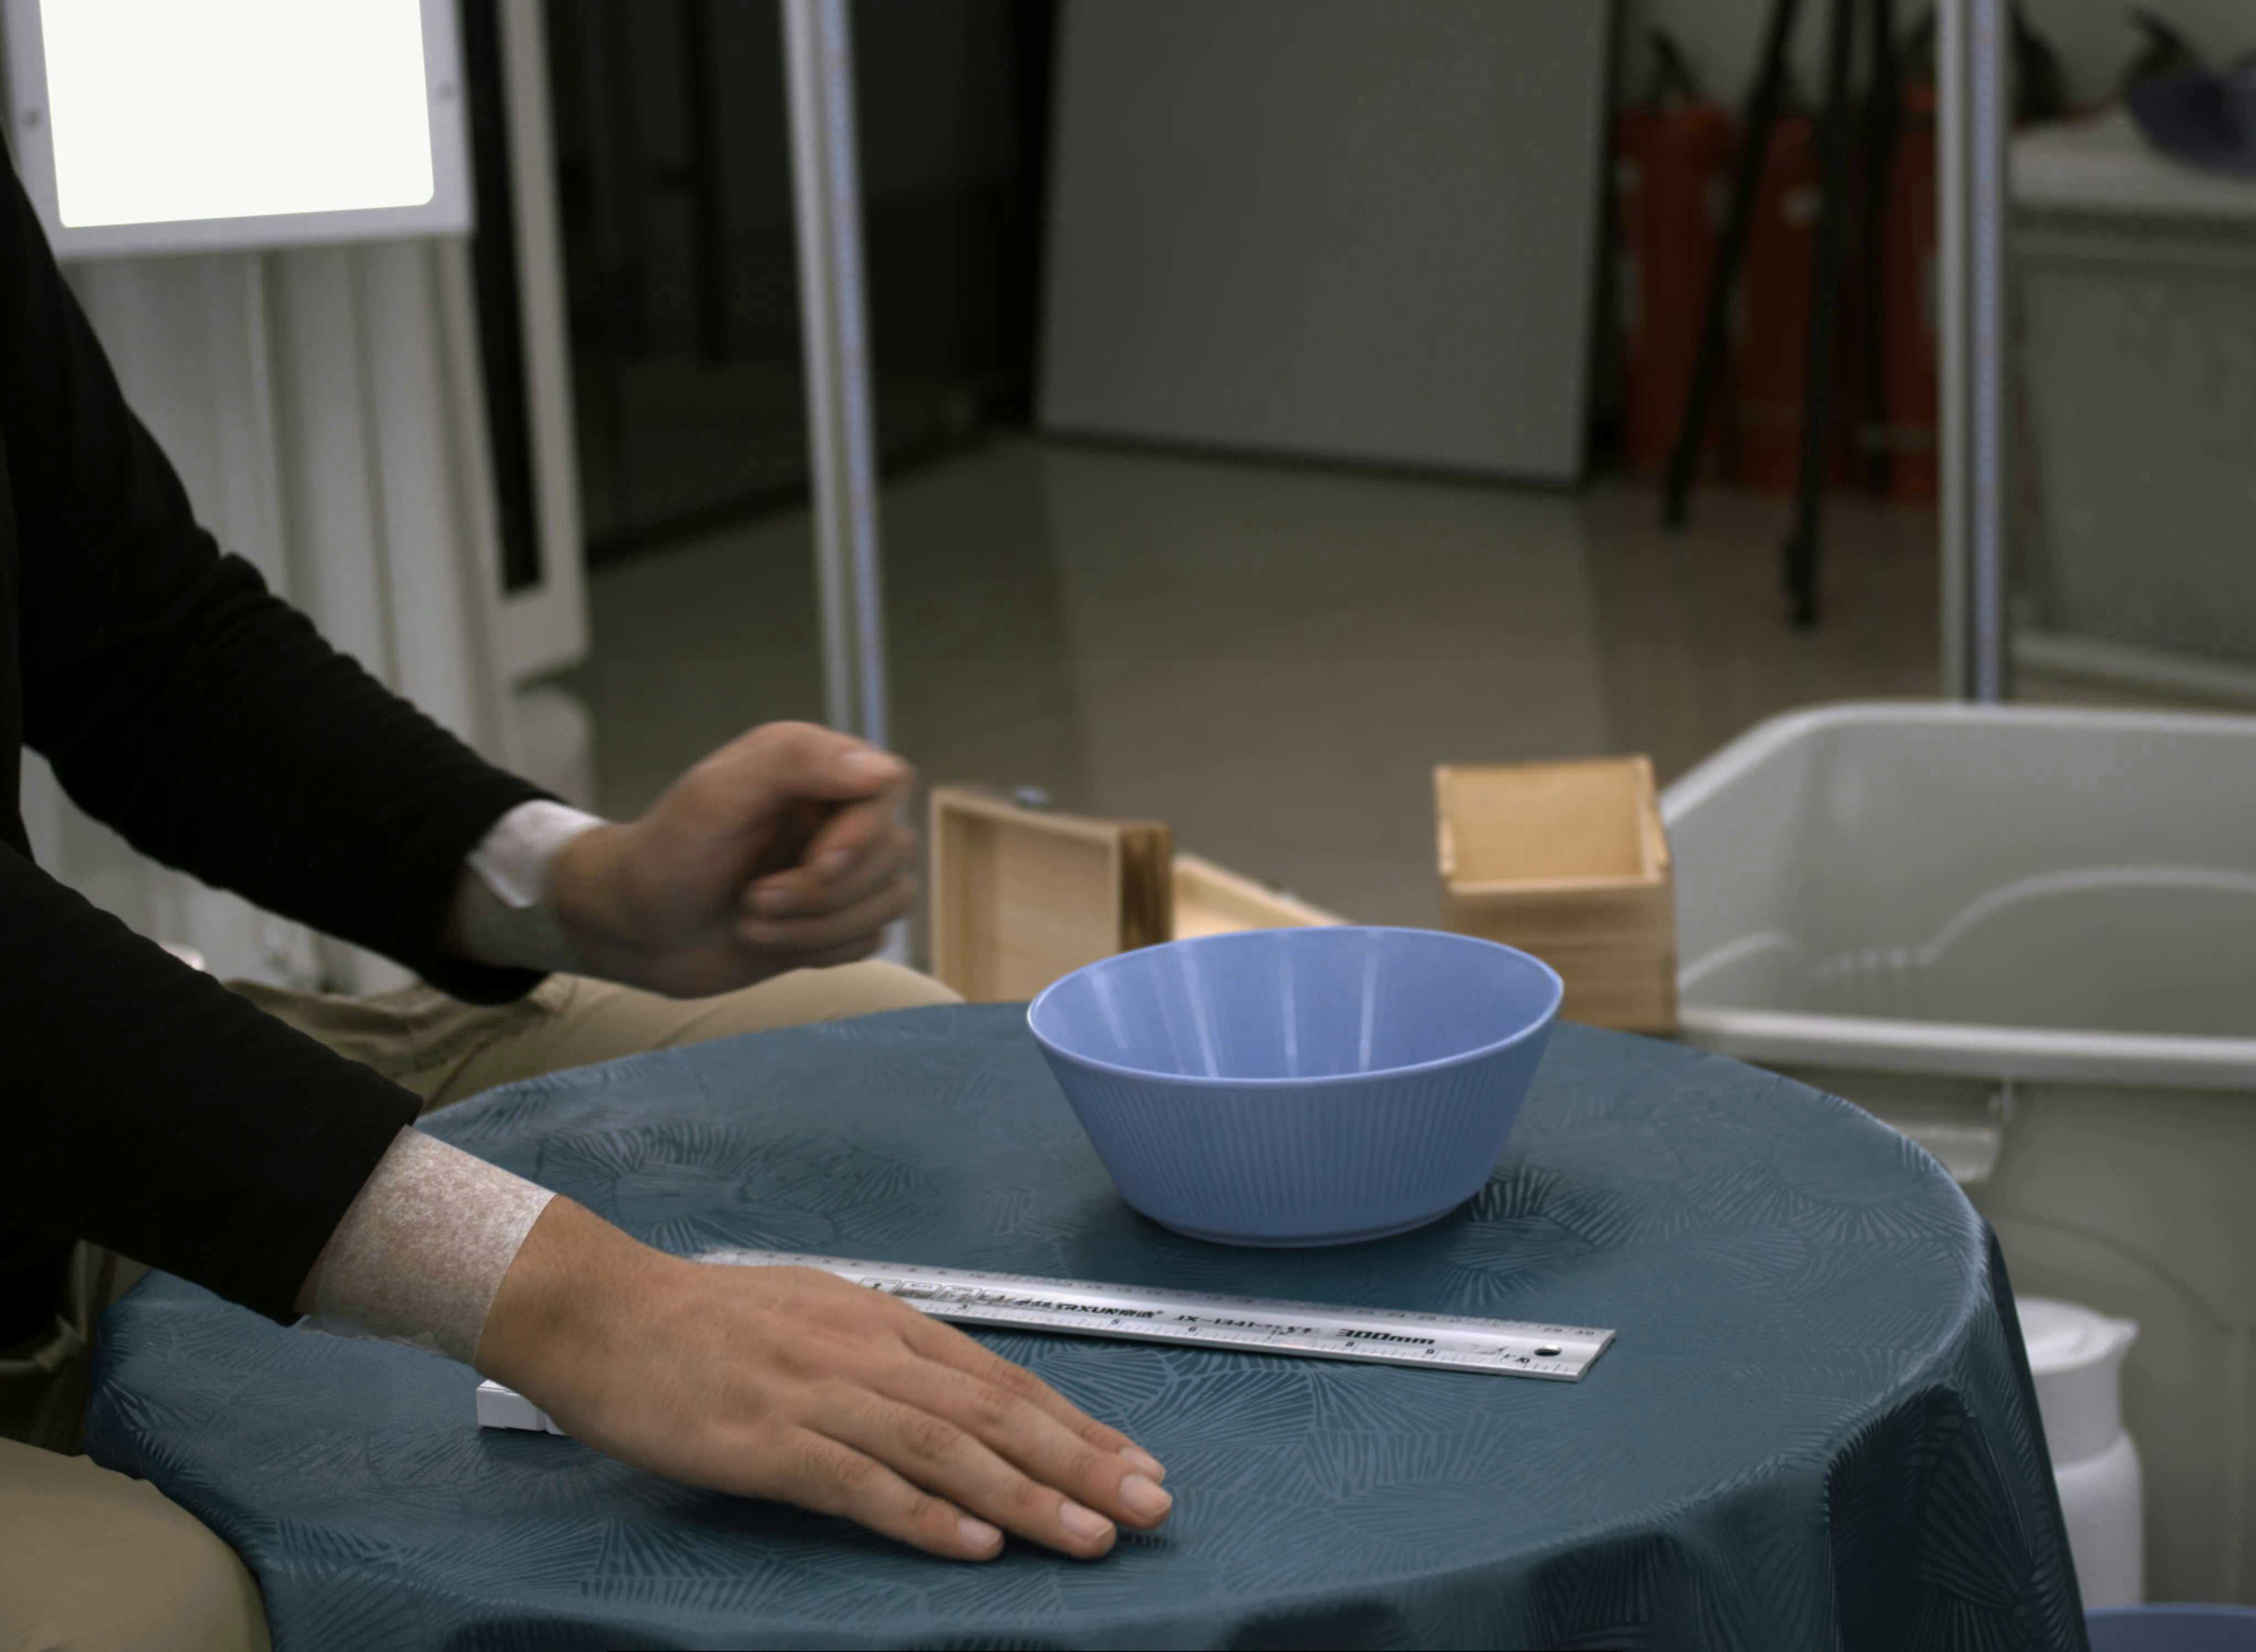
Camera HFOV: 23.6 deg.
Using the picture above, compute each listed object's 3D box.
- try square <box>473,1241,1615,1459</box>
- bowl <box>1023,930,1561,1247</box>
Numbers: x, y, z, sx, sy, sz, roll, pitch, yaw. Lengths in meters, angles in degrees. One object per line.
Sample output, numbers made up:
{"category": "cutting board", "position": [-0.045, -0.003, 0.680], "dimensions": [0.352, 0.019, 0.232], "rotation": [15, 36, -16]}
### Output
{"category": "try square", "position": [-0.024, 0.164, 1.599], "dimensions": [0.313, 0.016, 0.150], "rotation": [3, 18, 23]}
{"category": "bowl", "position": [0.055, 0.087, 1.745], "dimensions": [0.174, 0.071, 0.176], "rotation": [-4, 14, 0]}
